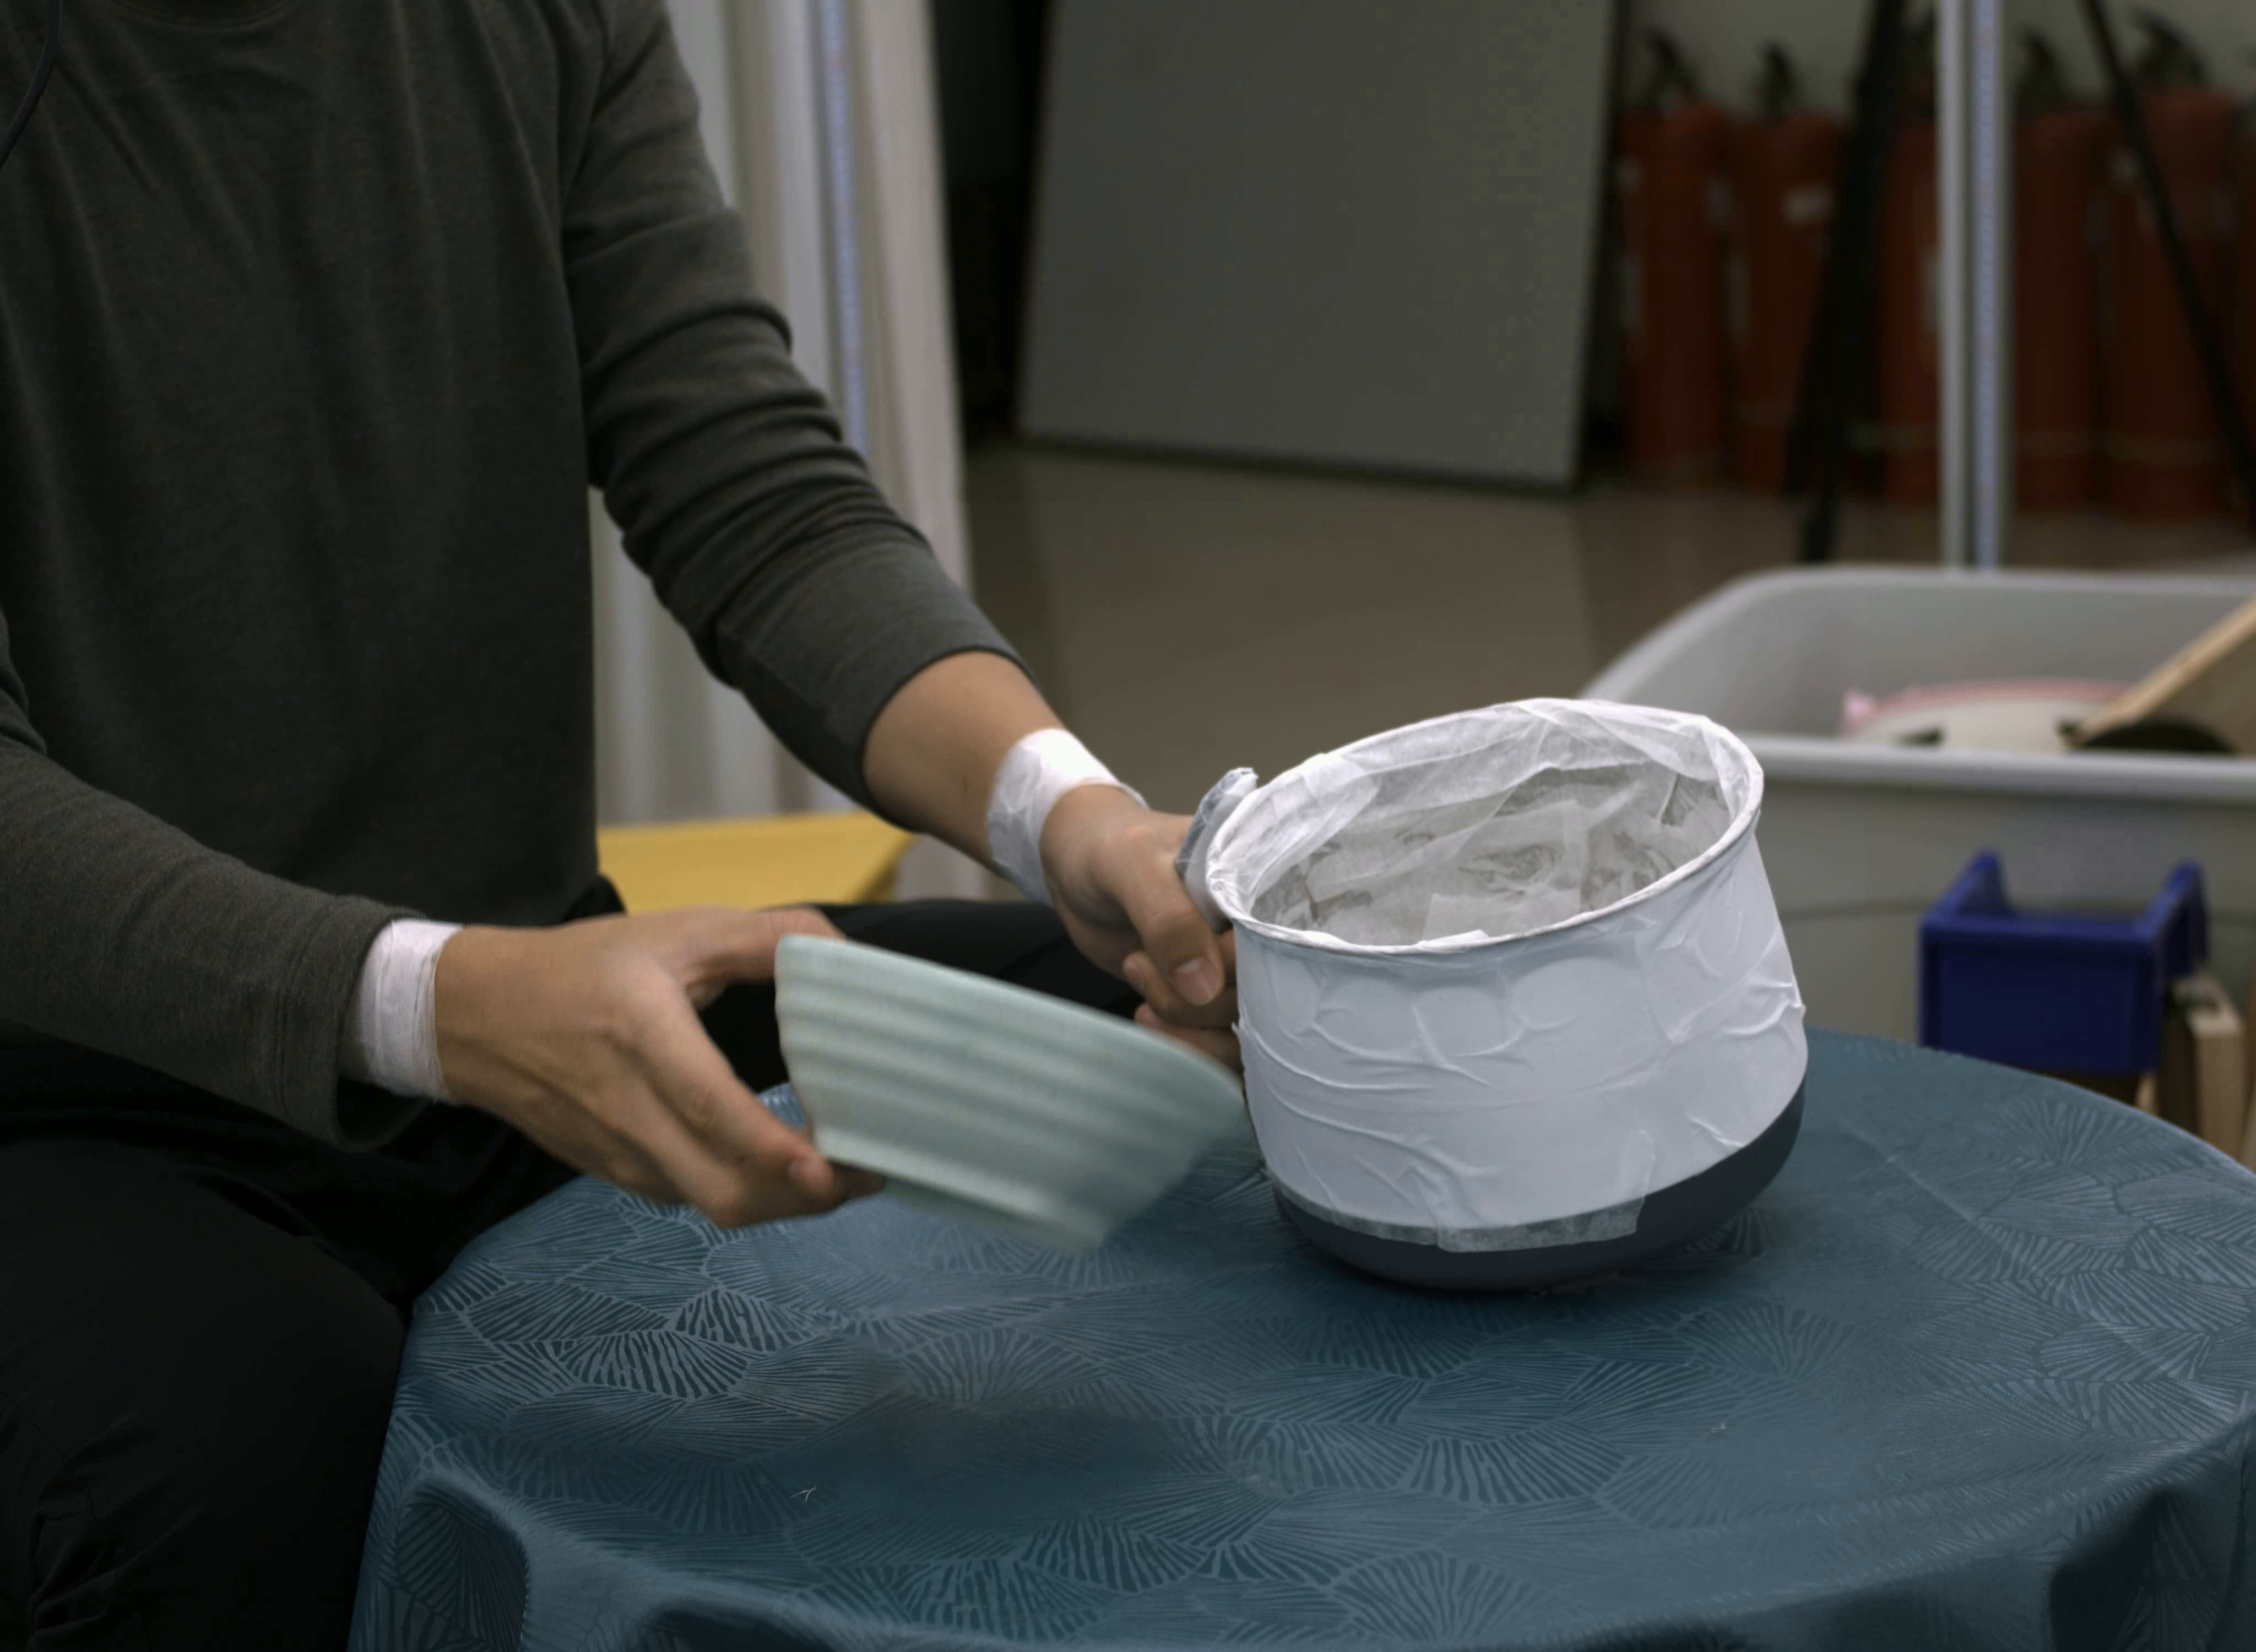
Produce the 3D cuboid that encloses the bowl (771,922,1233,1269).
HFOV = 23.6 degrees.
[{"bbox_3d":[-0.044,0.083,1.541,0.150,0.059,0.151,22,-7,2],"label":"bowl"}]

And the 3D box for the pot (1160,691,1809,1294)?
[{"bbox_3d":[0.100,0.051,1.702,0.235,0.137,0.176,7,29,40],"label":"pot"}]
